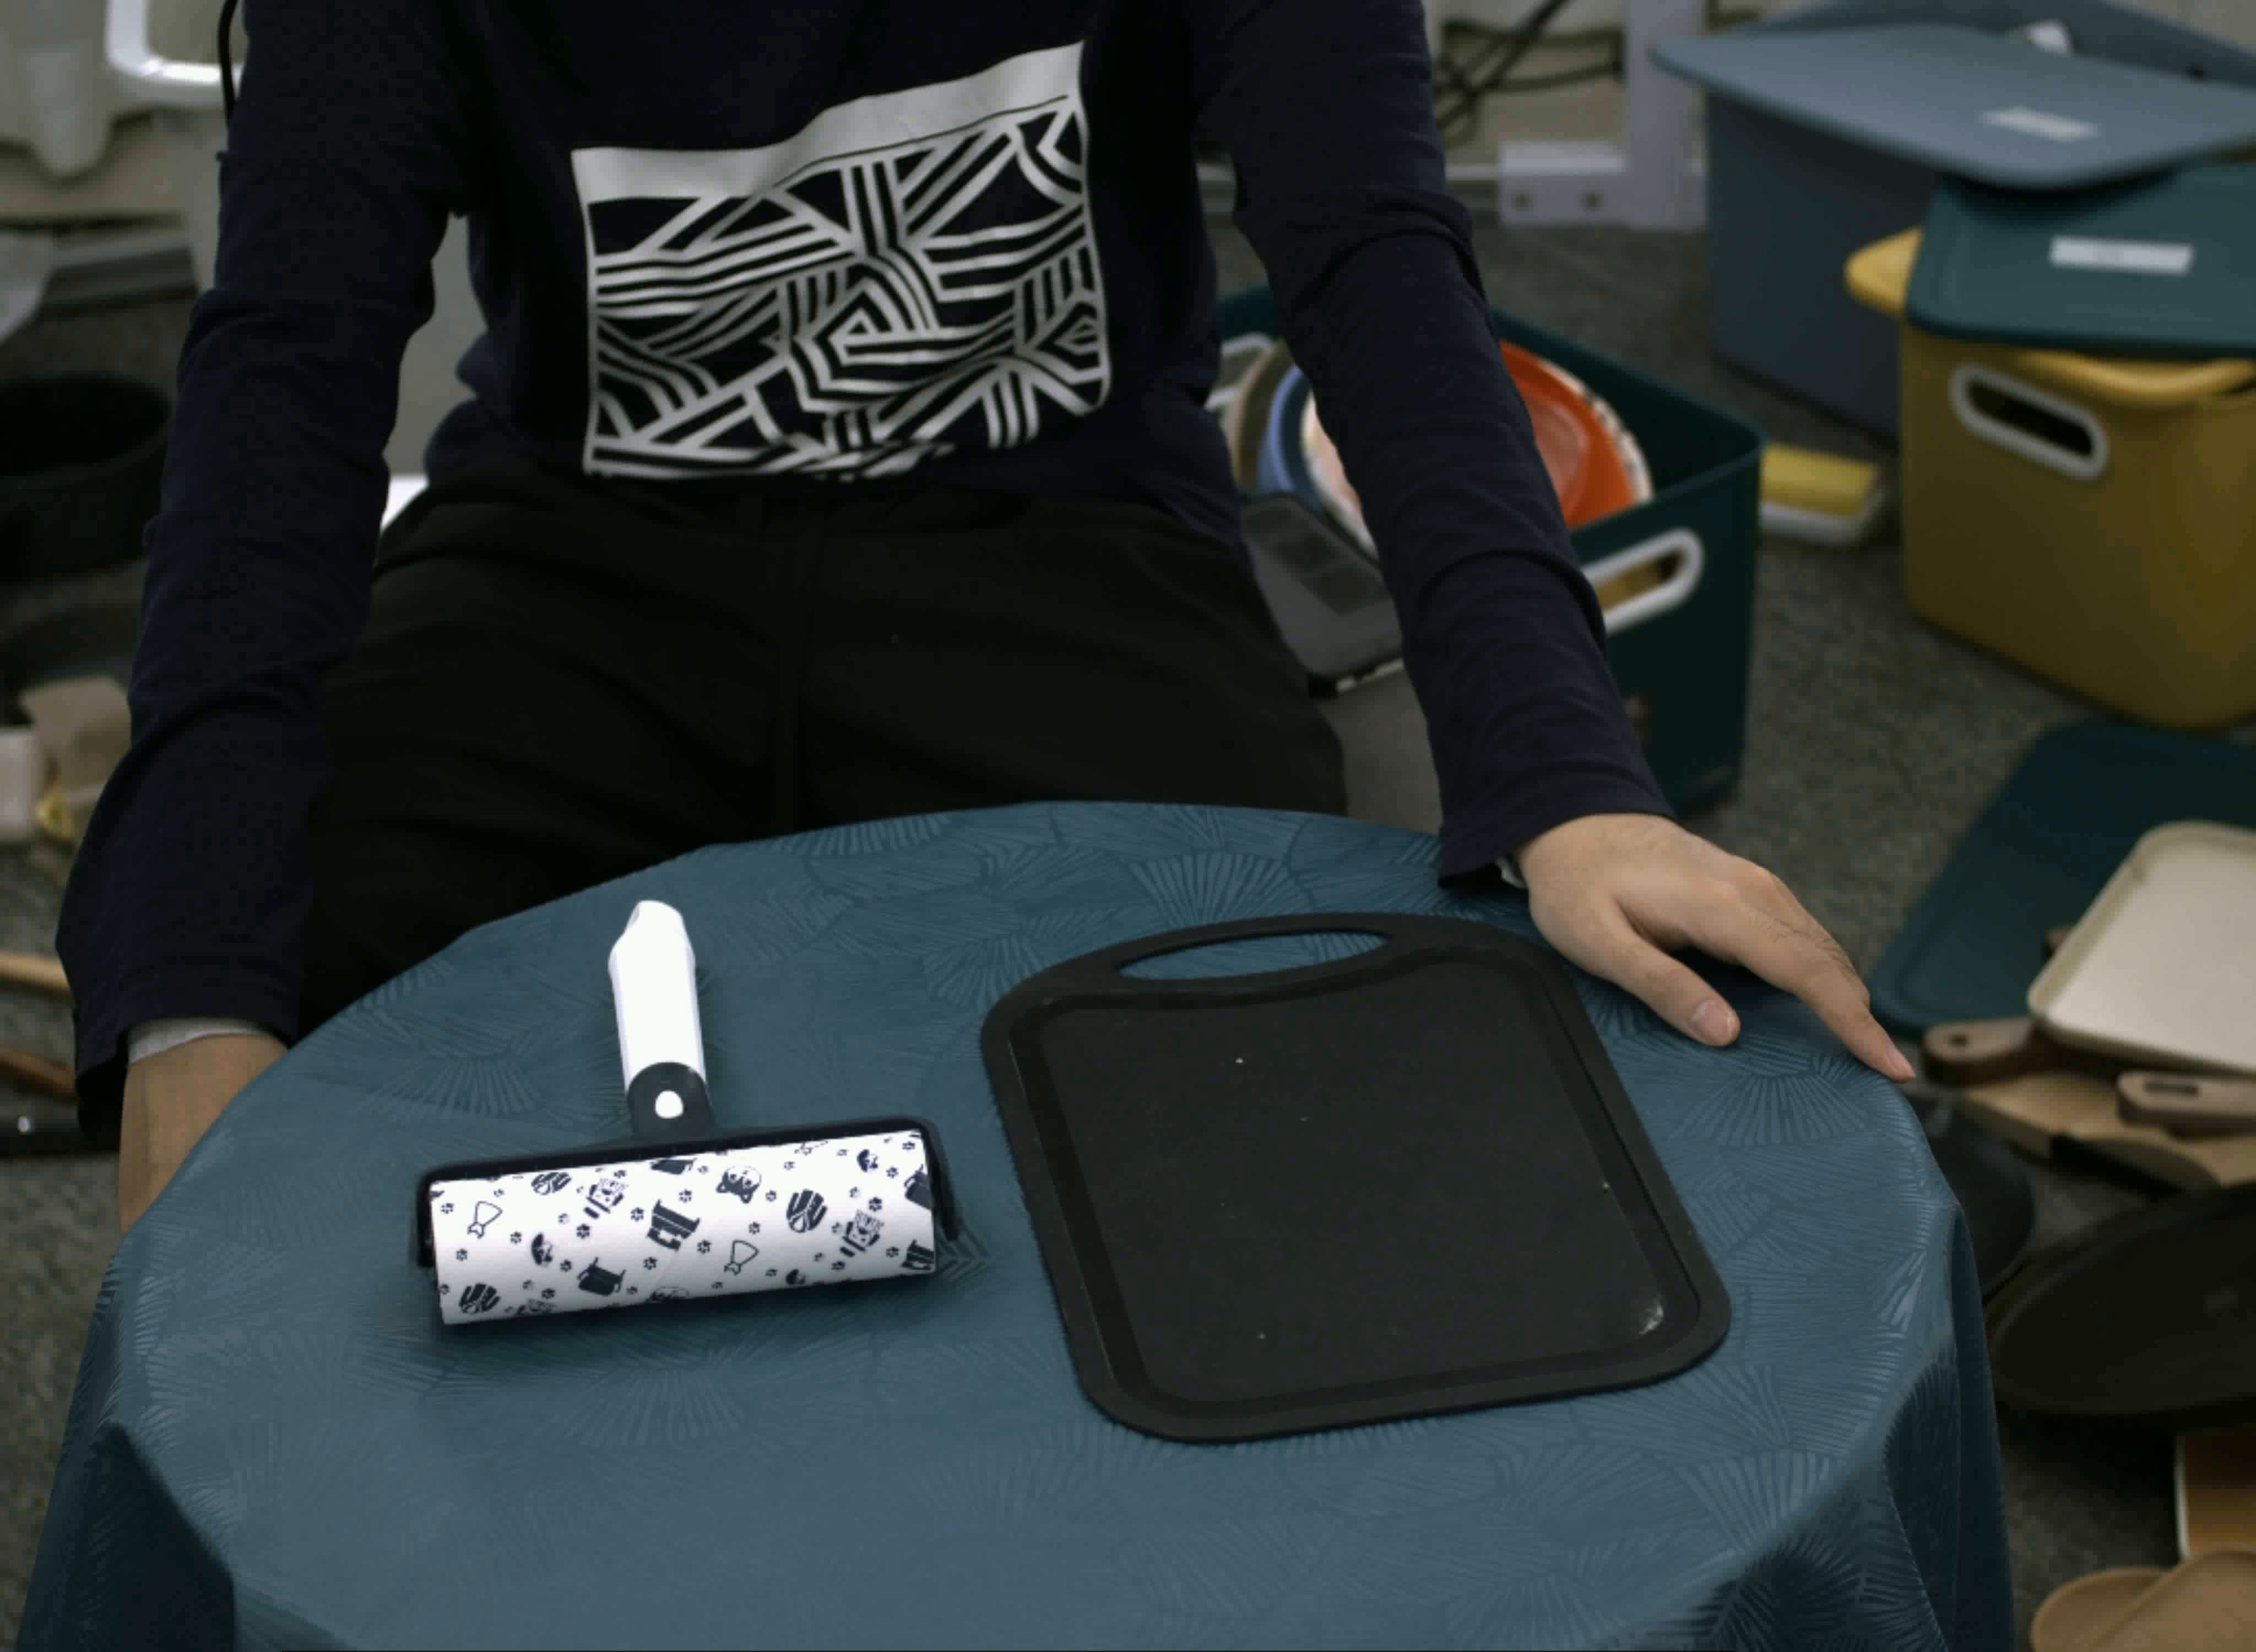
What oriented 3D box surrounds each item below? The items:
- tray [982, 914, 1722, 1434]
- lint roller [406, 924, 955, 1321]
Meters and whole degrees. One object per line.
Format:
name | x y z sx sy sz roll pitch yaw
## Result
tray | 0.066 0.107 1.877 0.210 0.009 0.329 -6 27 -7
lint roller | -0.158 0.086 1.900 0.176 0.050 0.250 -7 25 -6
